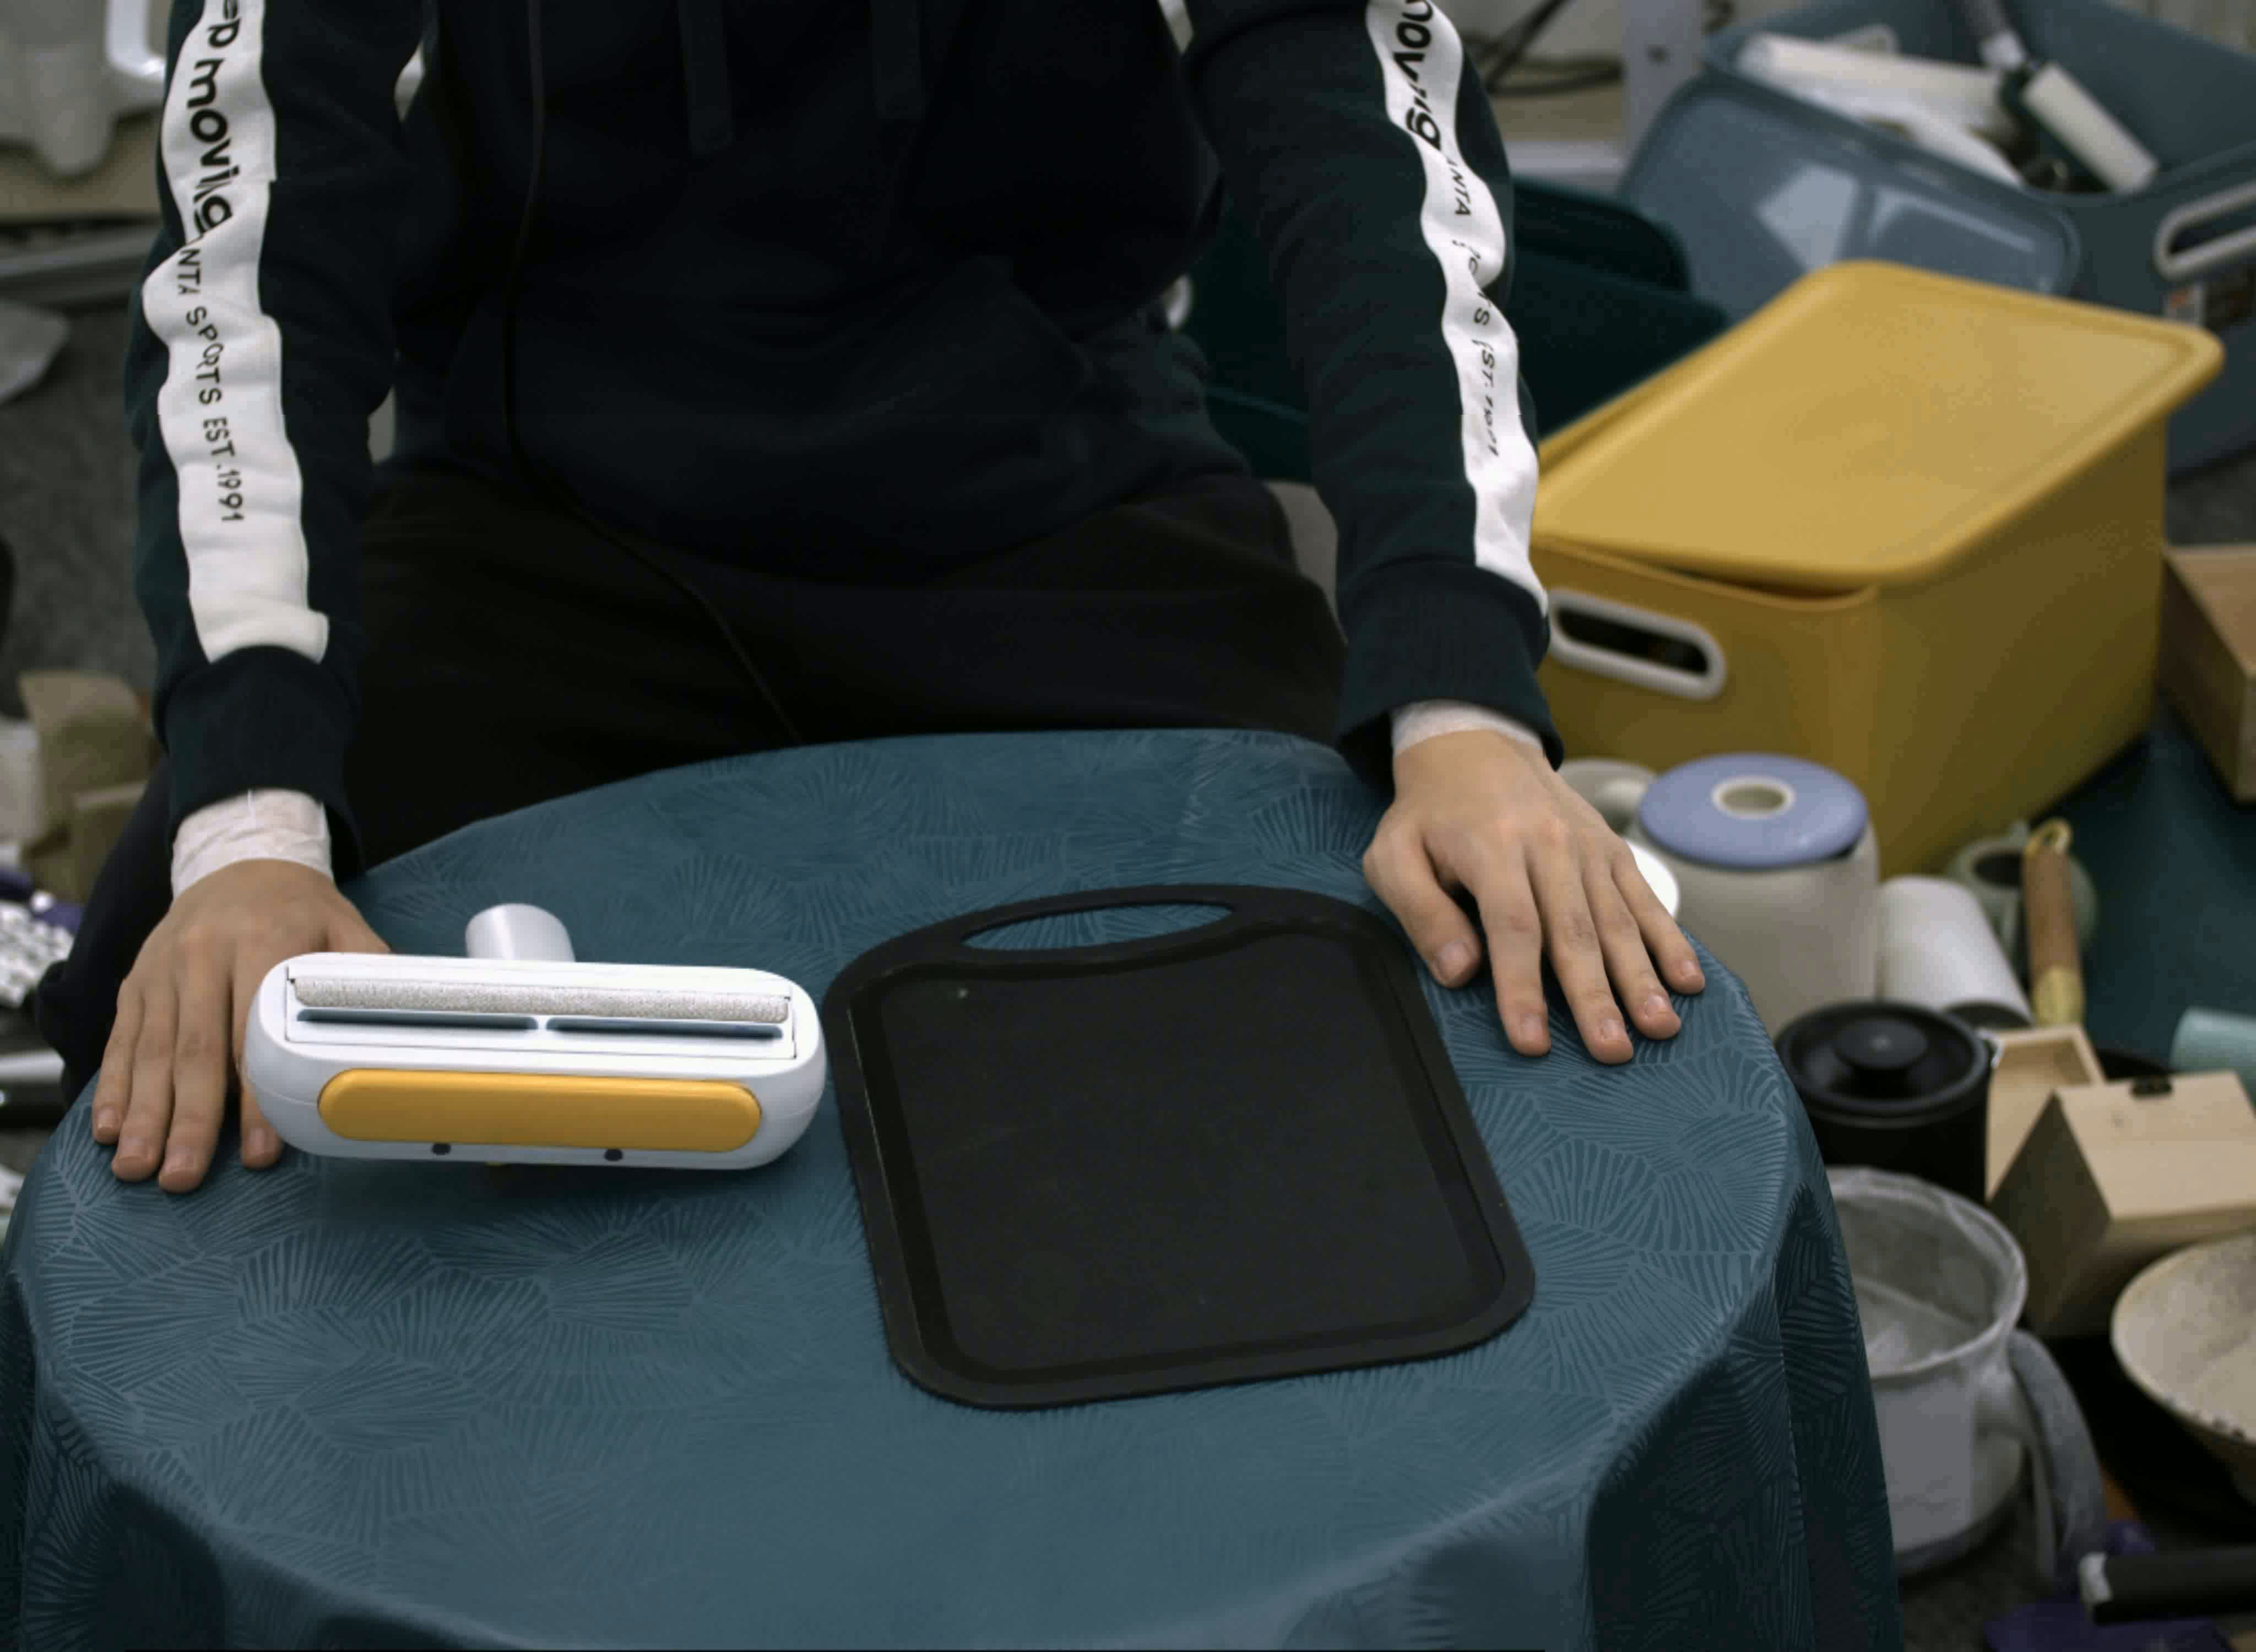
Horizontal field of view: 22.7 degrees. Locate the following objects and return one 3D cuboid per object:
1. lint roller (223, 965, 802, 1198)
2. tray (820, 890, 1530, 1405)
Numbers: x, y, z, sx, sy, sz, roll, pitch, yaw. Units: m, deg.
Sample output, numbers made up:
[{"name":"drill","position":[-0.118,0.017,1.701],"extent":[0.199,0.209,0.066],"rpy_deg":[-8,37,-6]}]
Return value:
[{"name":"lint roller","position":[-0.208,0.078,1.931],"extent":[0.192,0.074,0.194],"rpy_deg":[3,13,-4]},{"name":"tray","position":[0.008,0.099,1.896],"extent":[0.210,0.009,0.329],"rpy_deg":[-6,28,-6]}]
